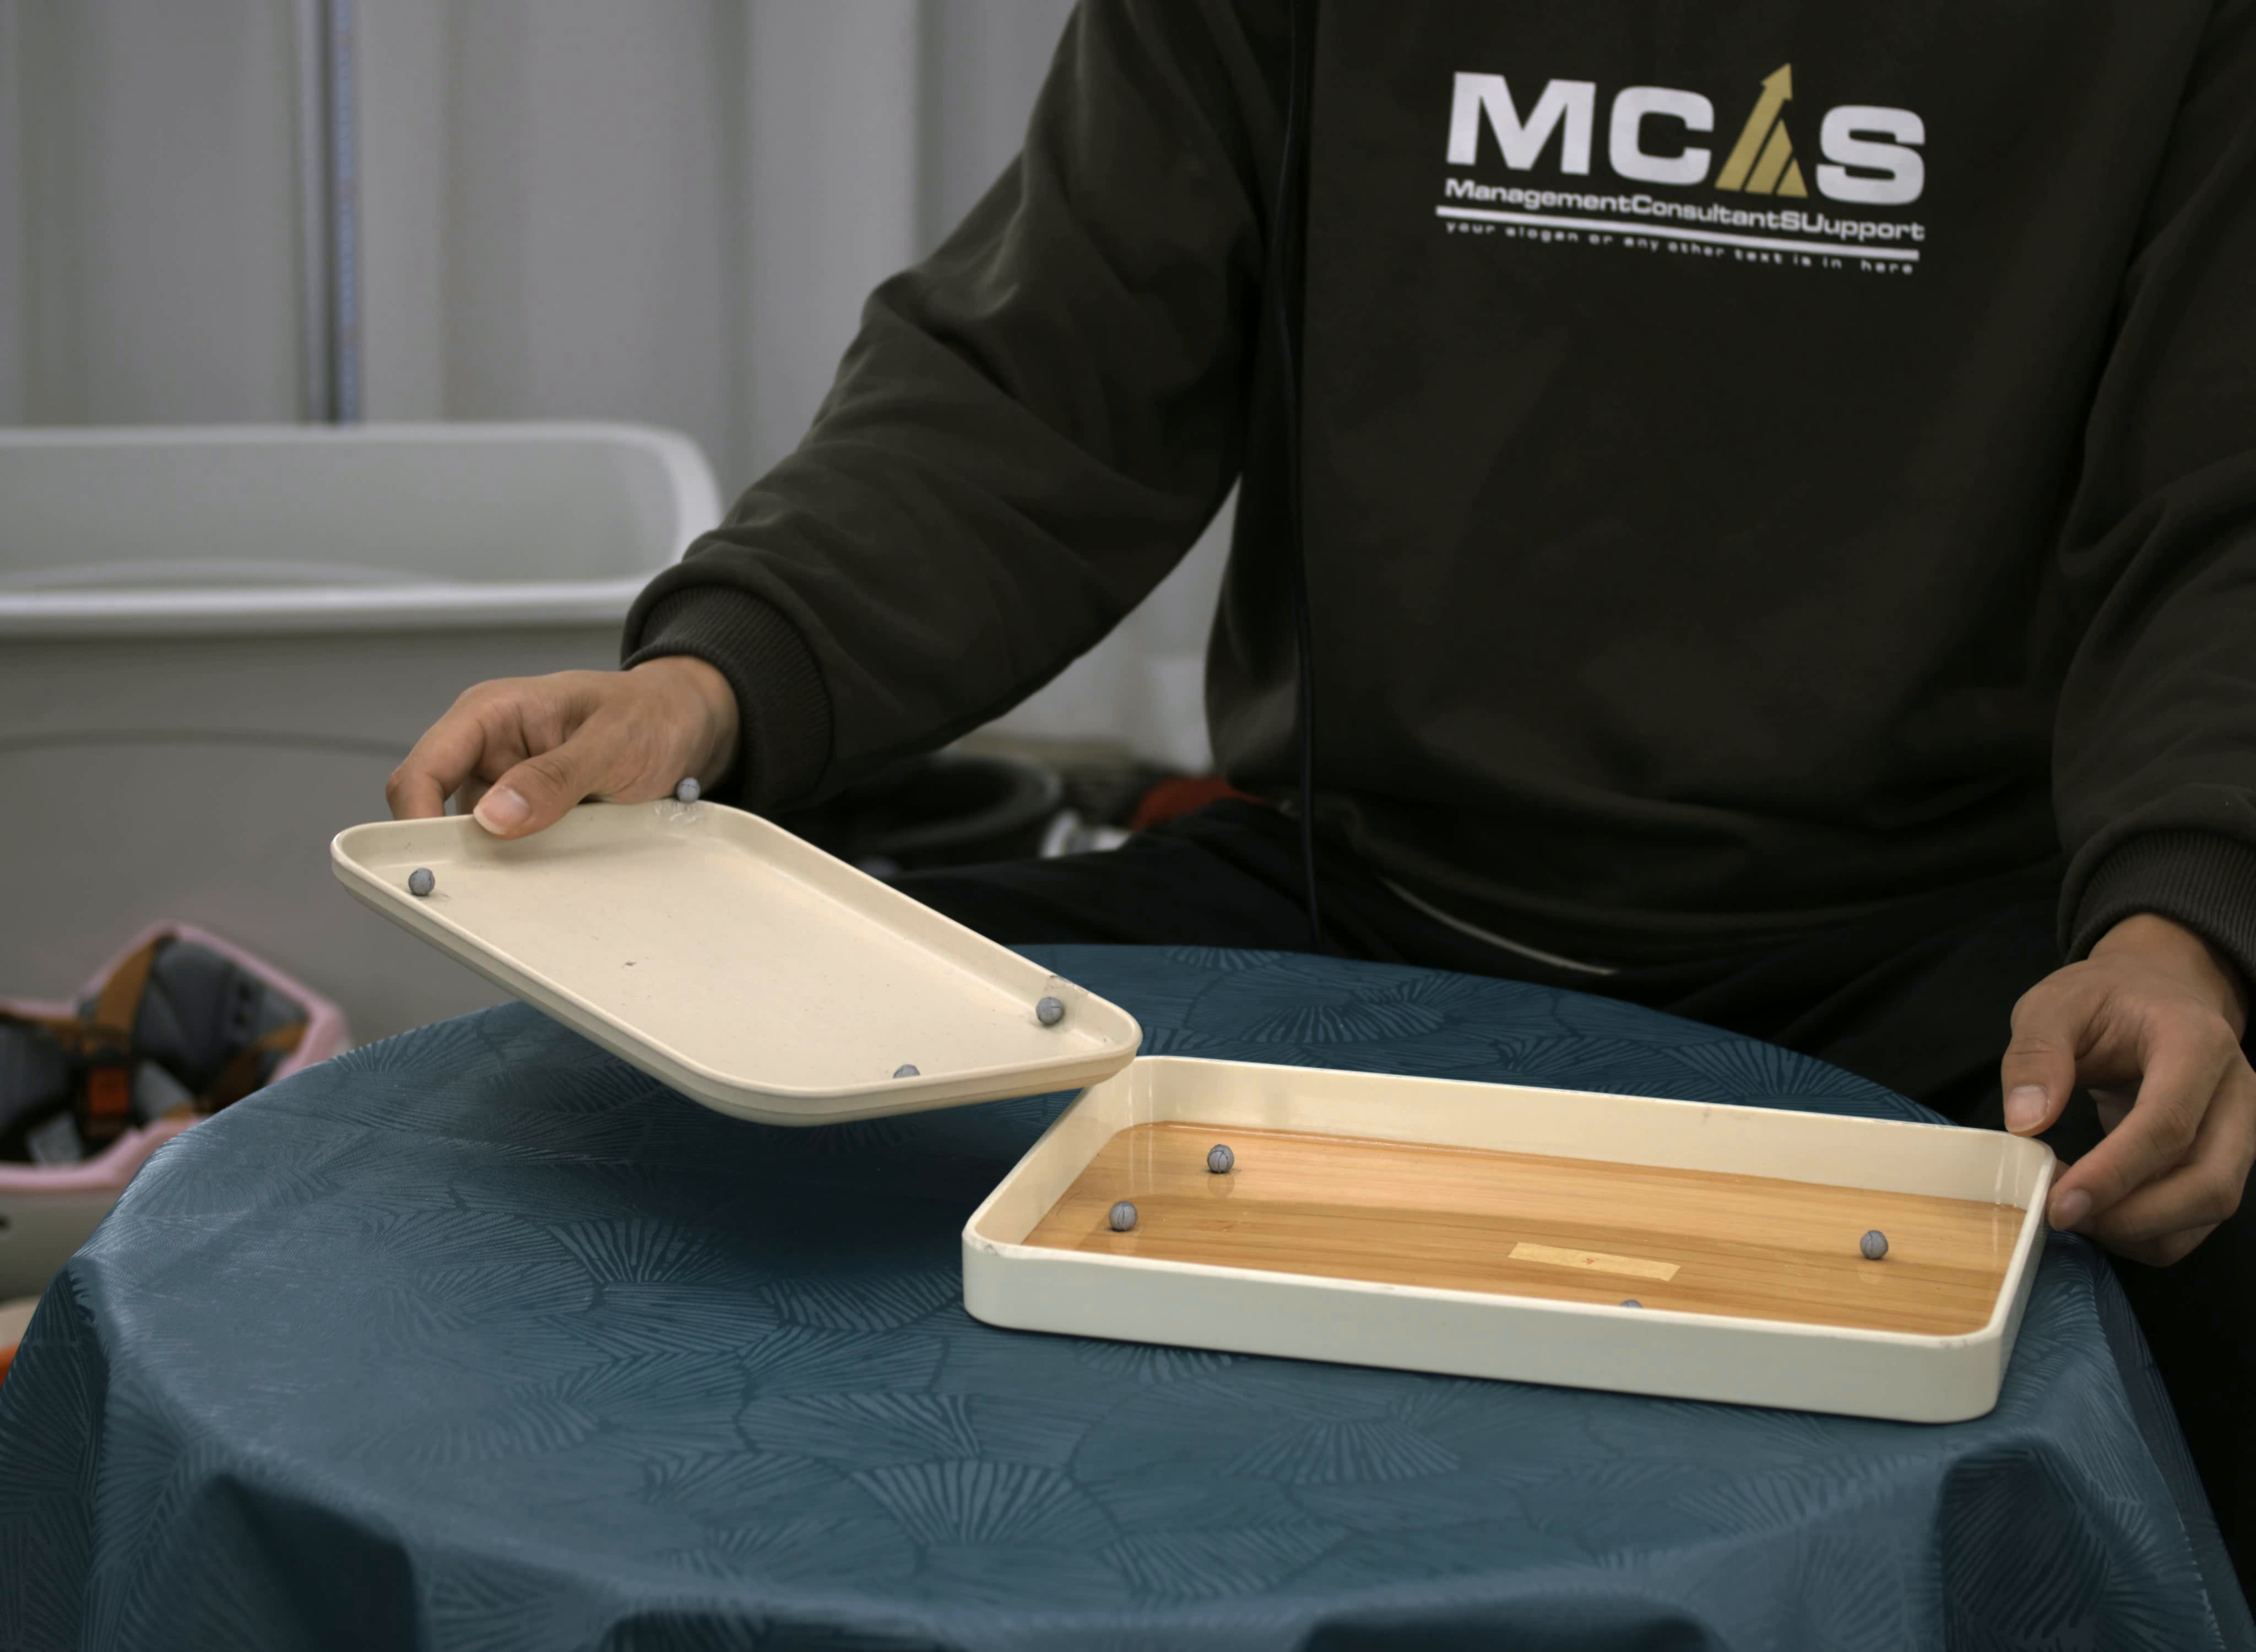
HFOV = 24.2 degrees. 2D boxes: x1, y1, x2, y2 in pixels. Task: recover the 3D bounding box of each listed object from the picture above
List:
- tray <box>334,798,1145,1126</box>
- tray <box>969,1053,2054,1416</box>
[{"bbox_3d":[-0.123,0.041,1.640,0.172,0.017,0.236,-7,24,-43],"label":"tray"},{"bbox_3d":[0.118,0.119,1.566,0.298,0.027,0.191,5,16,13],"label":"tray"}]
